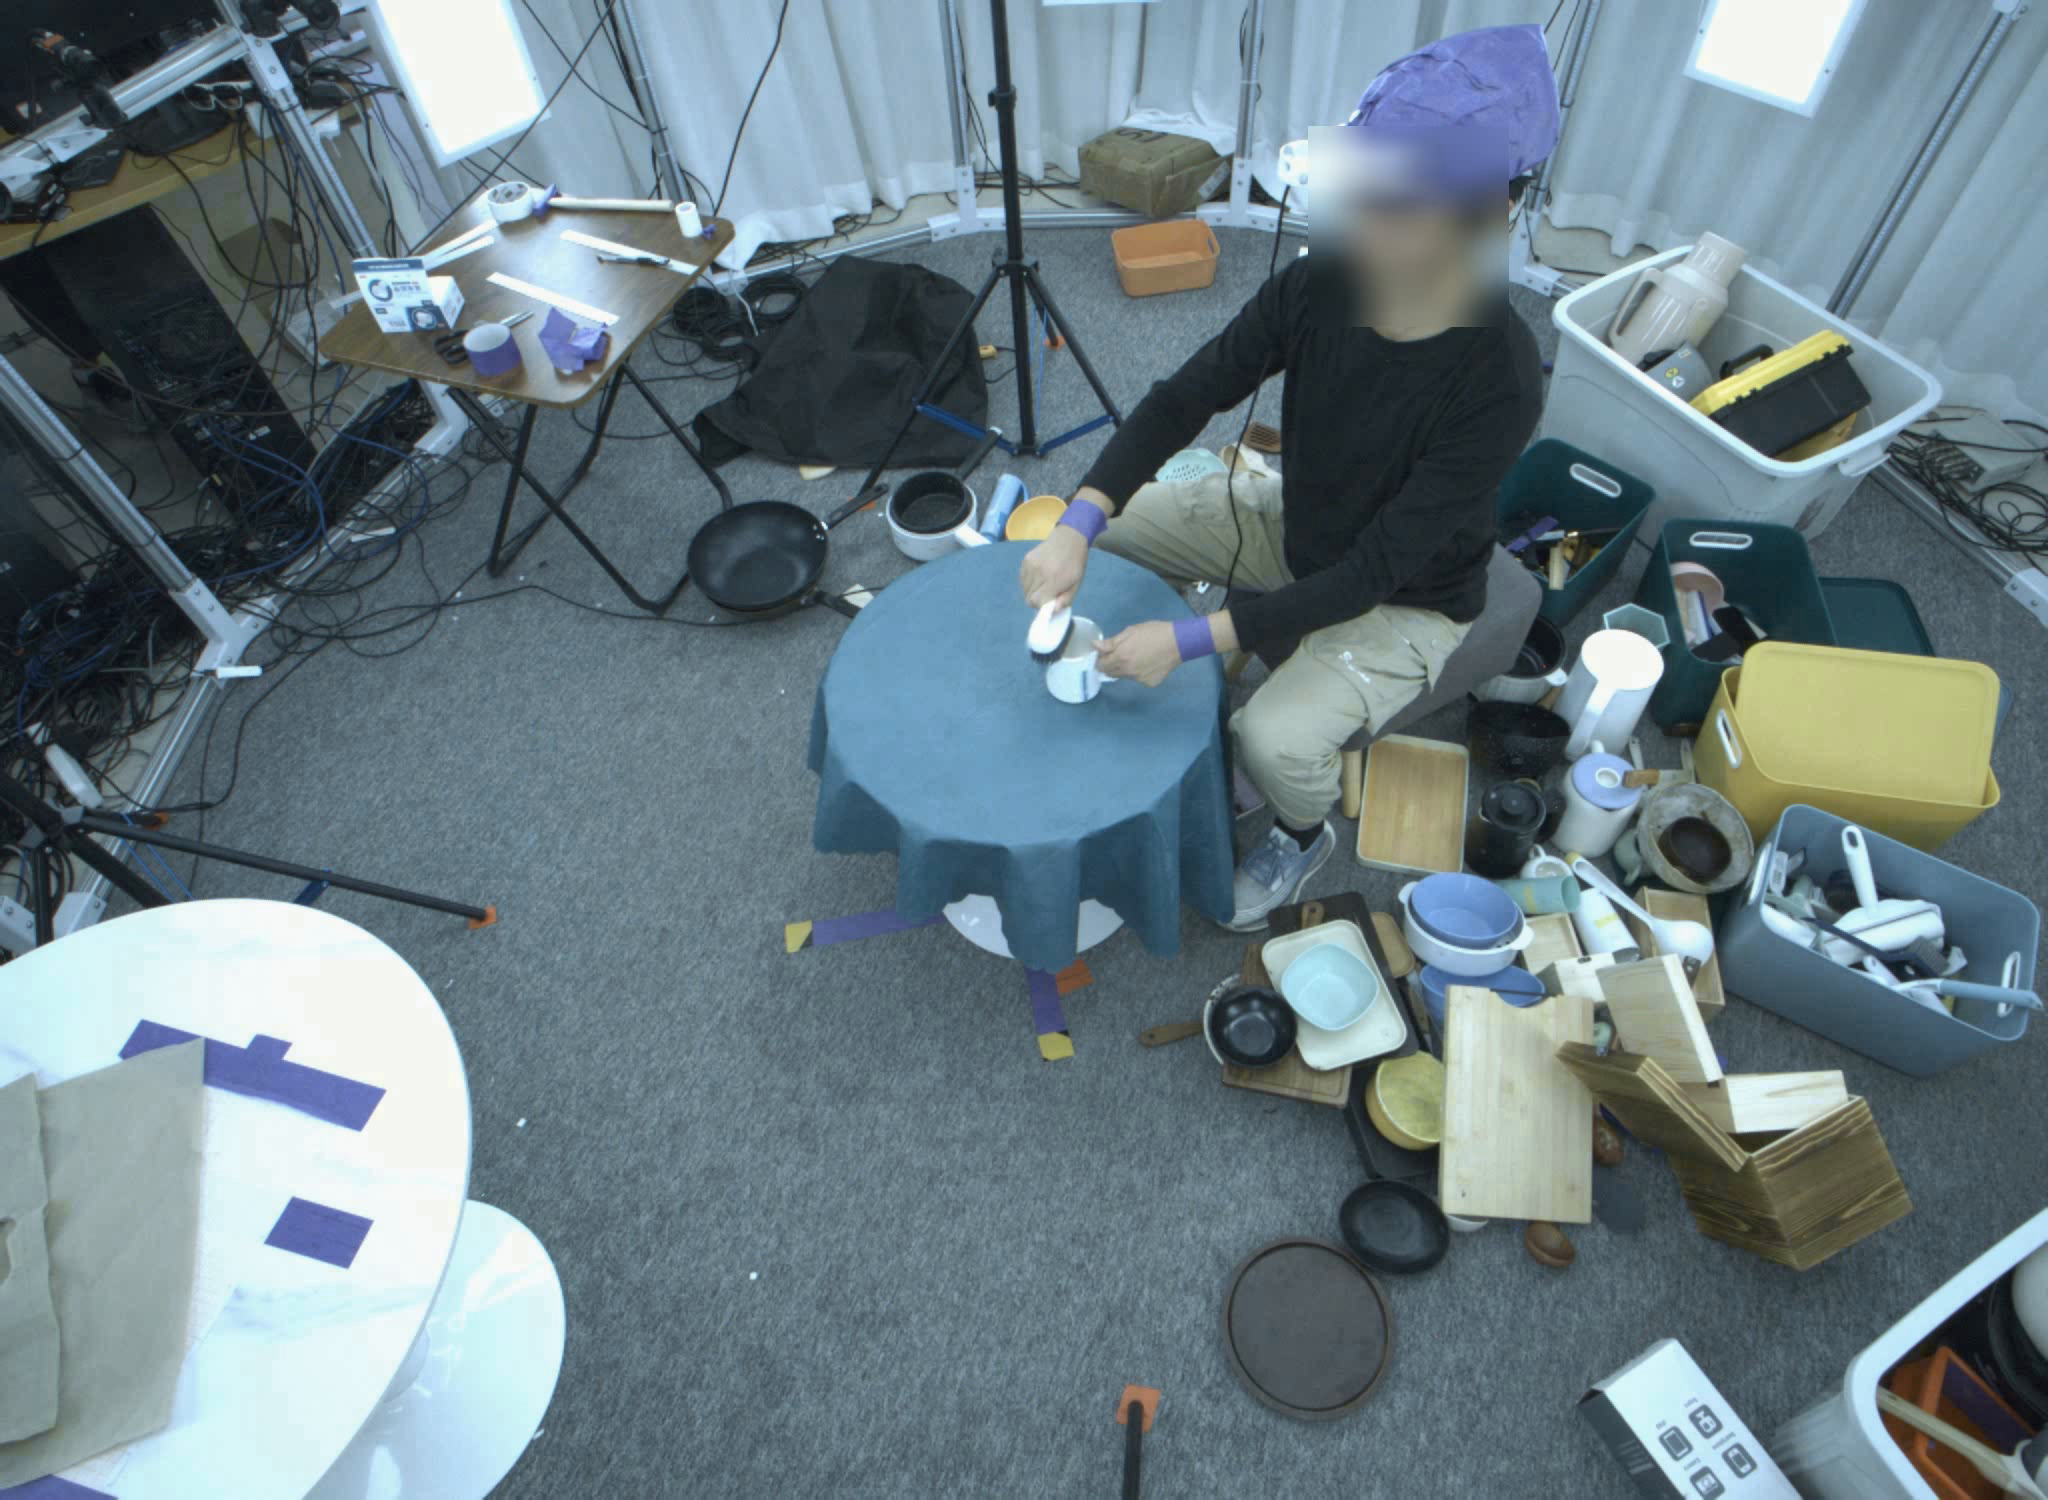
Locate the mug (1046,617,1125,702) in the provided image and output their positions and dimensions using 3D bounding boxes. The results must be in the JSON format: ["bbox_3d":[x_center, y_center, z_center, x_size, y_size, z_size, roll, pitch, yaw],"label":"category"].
[{"bbox_3d":[0.089,-0.129,1.815,0.117,0.103,0.084,9,57,8],"label":"mug"}]

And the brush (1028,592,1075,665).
[{"bbox_3d":[0.037,-0.180,1.751,0.049,0.073,0.099,15,57,18],"label":"brush"}]
